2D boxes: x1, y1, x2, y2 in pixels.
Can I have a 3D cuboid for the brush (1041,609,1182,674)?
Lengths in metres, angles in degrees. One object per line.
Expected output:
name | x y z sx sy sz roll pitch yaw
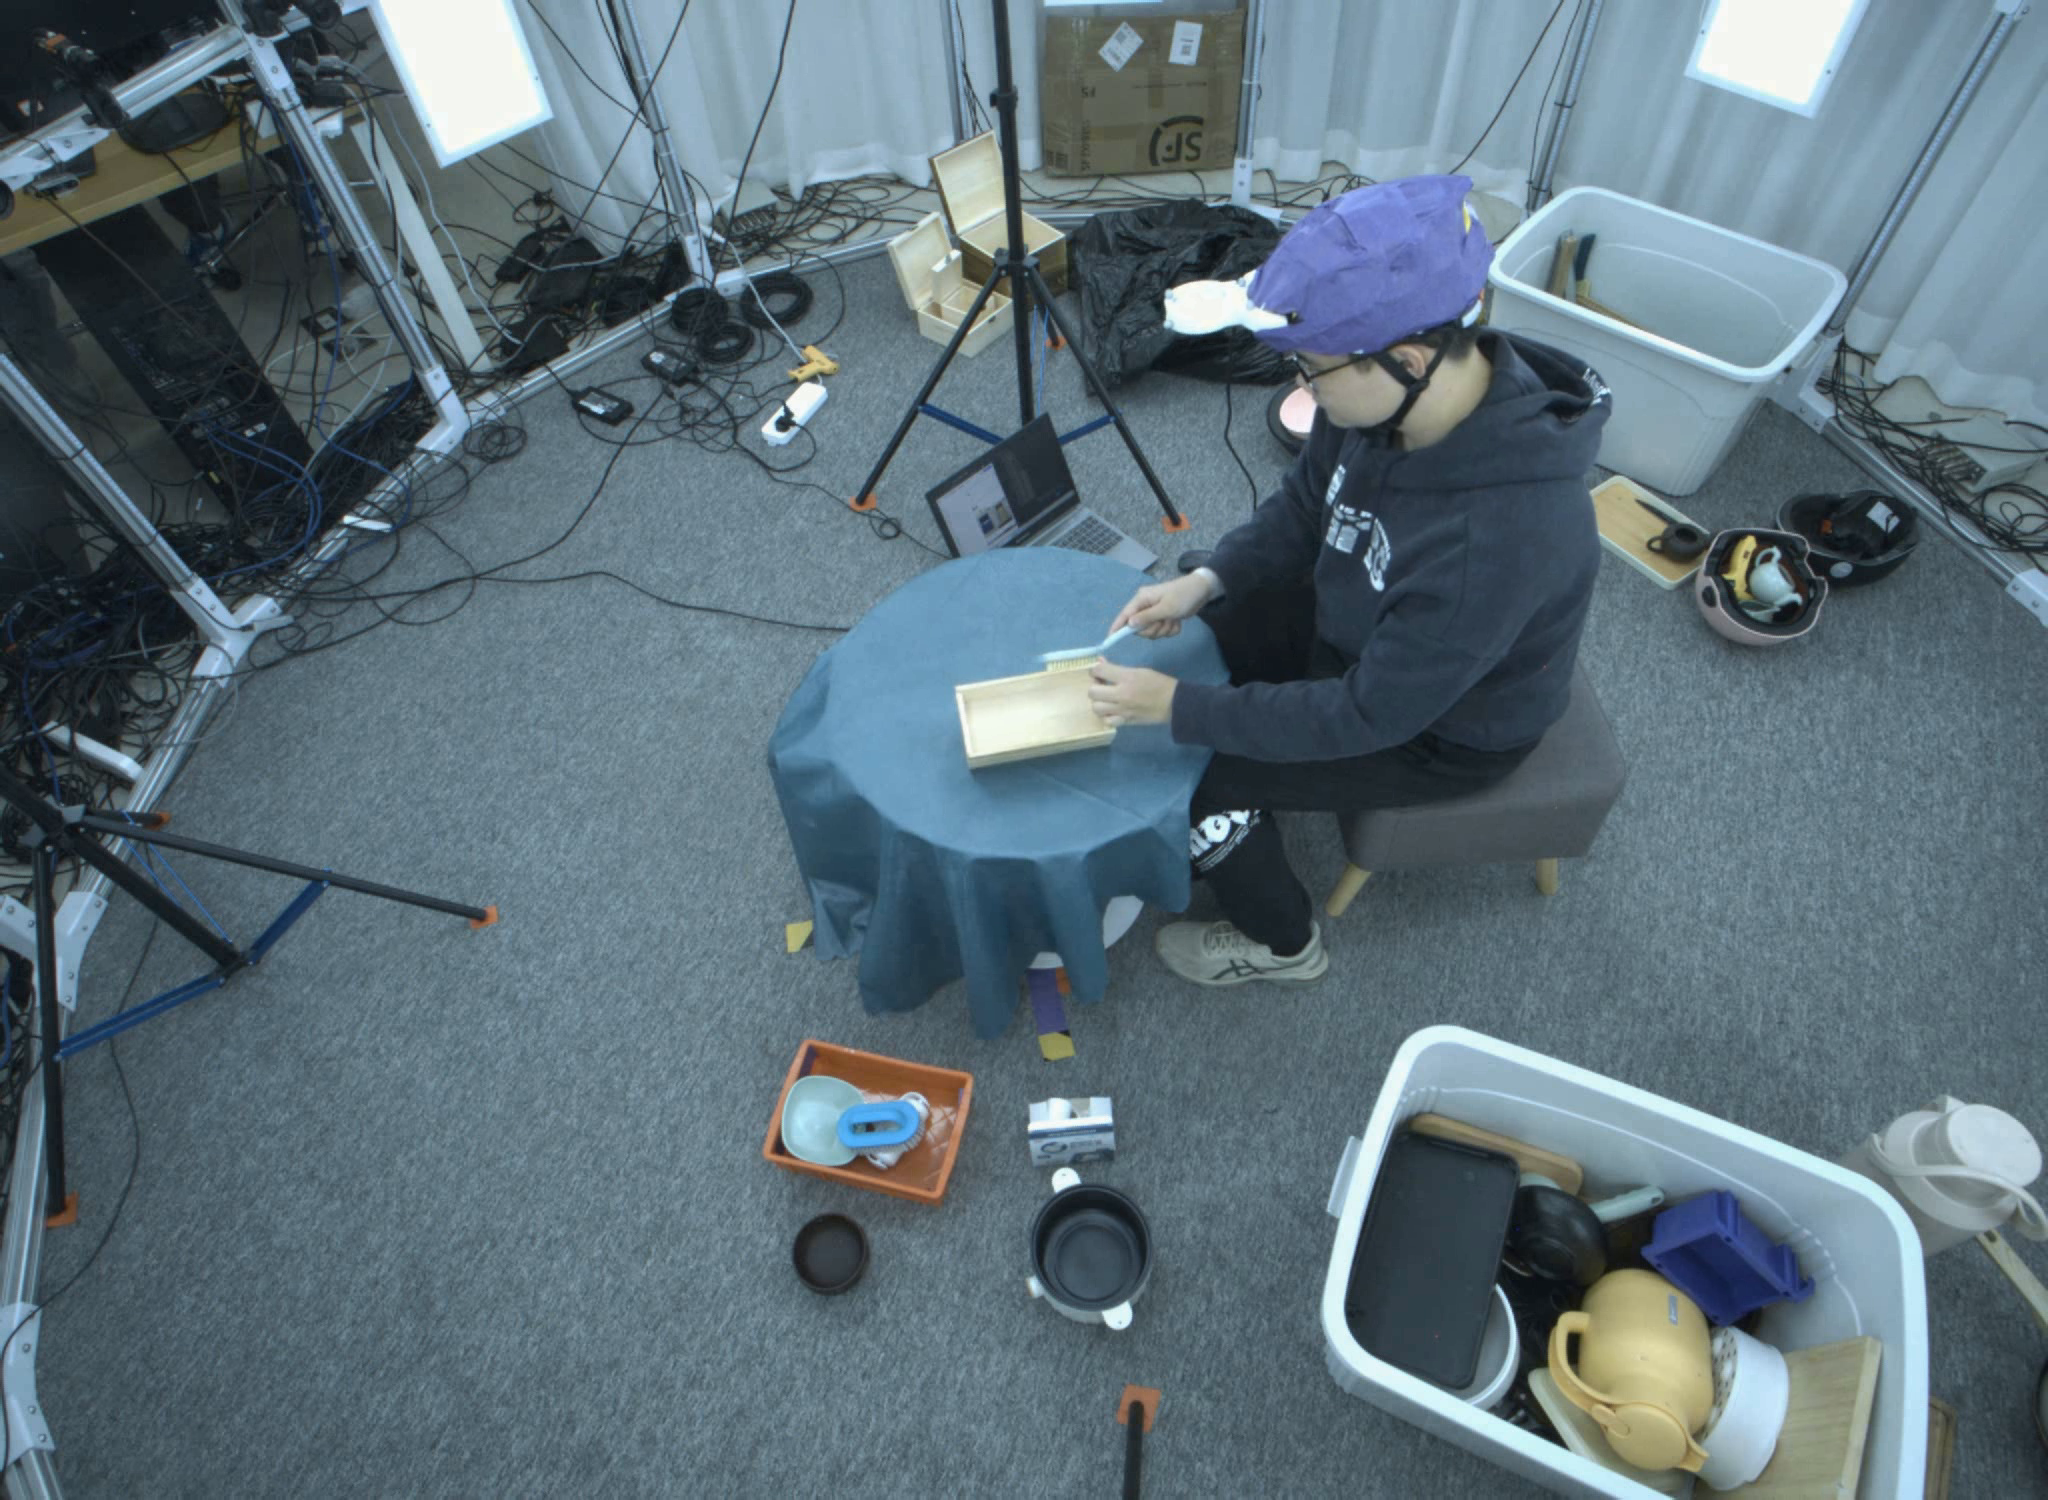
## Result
brush | 0.133 -0.157 1.796 0.231 0.037 0.049 -22 85 -20

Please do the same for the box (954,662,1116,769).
box | 0.014 -0.049 1.750 0.212 0.080 0.107 -10 81 -5
